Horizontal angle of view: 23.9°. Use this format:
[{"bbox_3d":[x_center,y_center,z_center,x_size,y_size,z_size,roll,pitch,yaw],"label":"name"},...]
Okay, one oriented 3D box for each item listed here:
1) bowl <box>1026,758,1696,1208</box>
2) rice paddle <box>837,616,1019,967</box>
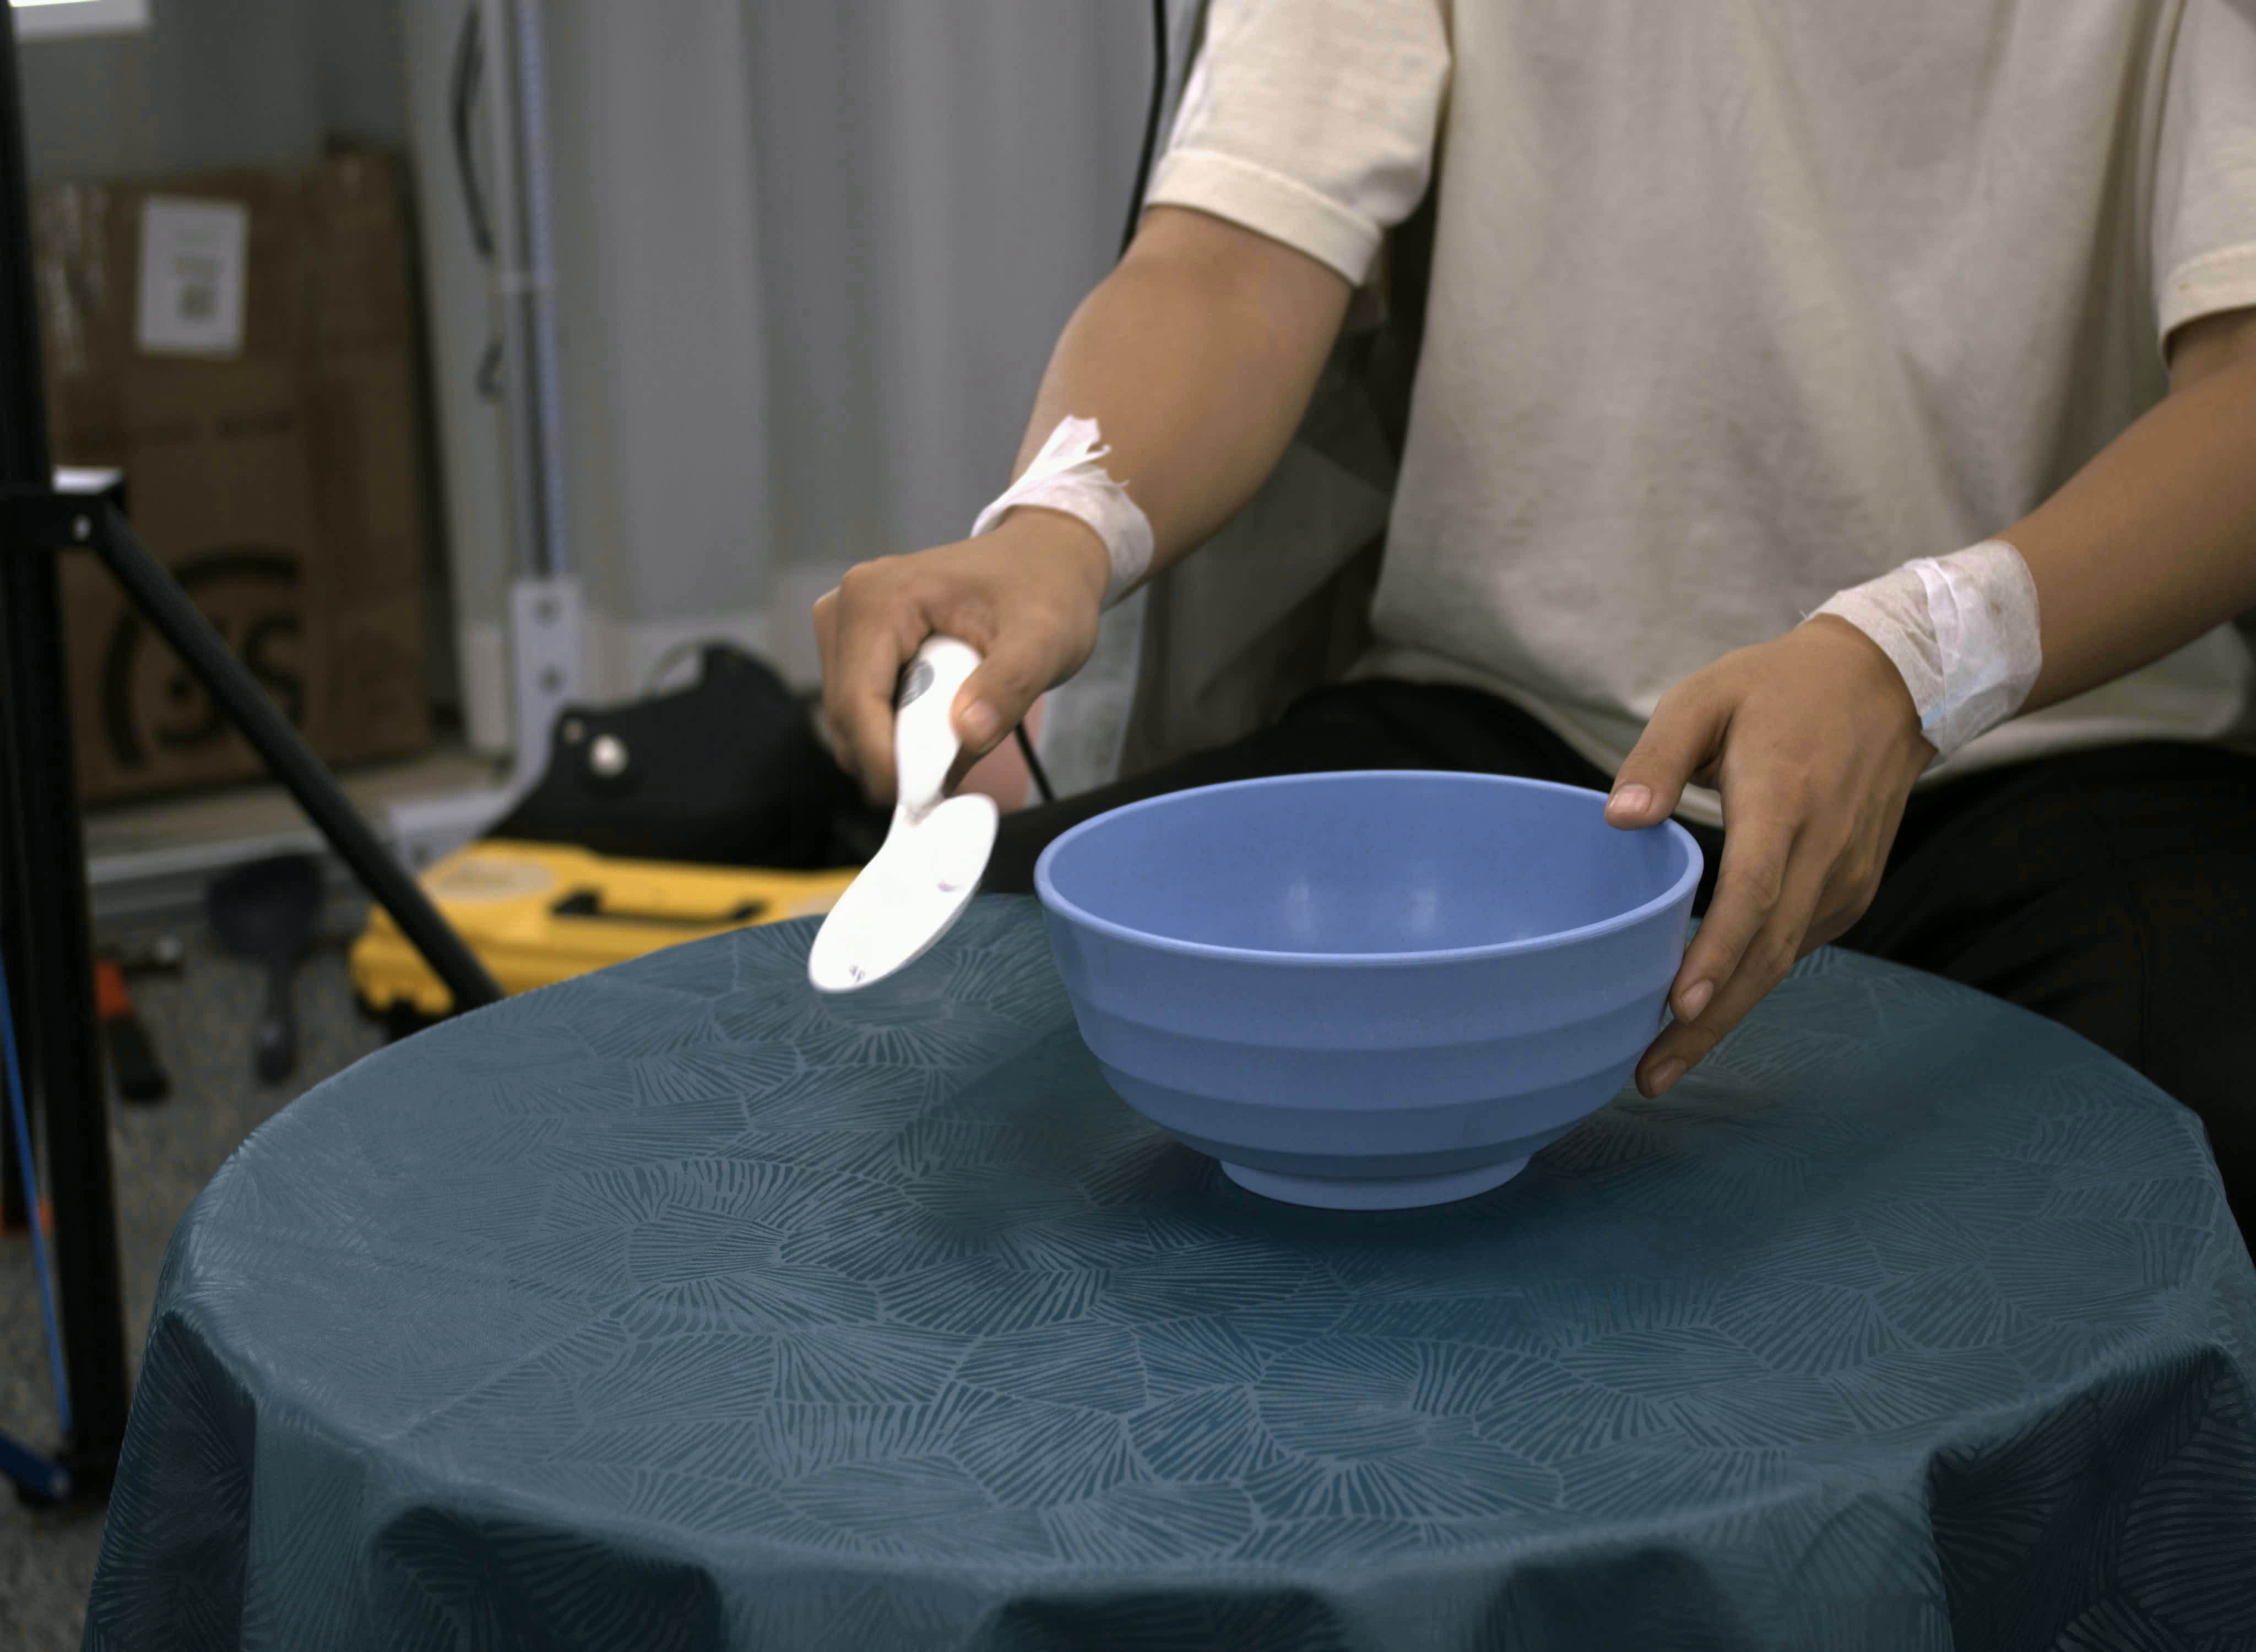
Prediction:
[{"bbox_3d":[0.071,0.052,1.562,0.195,0.095,0.197,-5,17,0],"label":"bowl"},{"bbox_3d":[-0.056,-0.012,1.592,0.069,0.029,0.206,-37,18,16],"label":"rice paddle"}]
